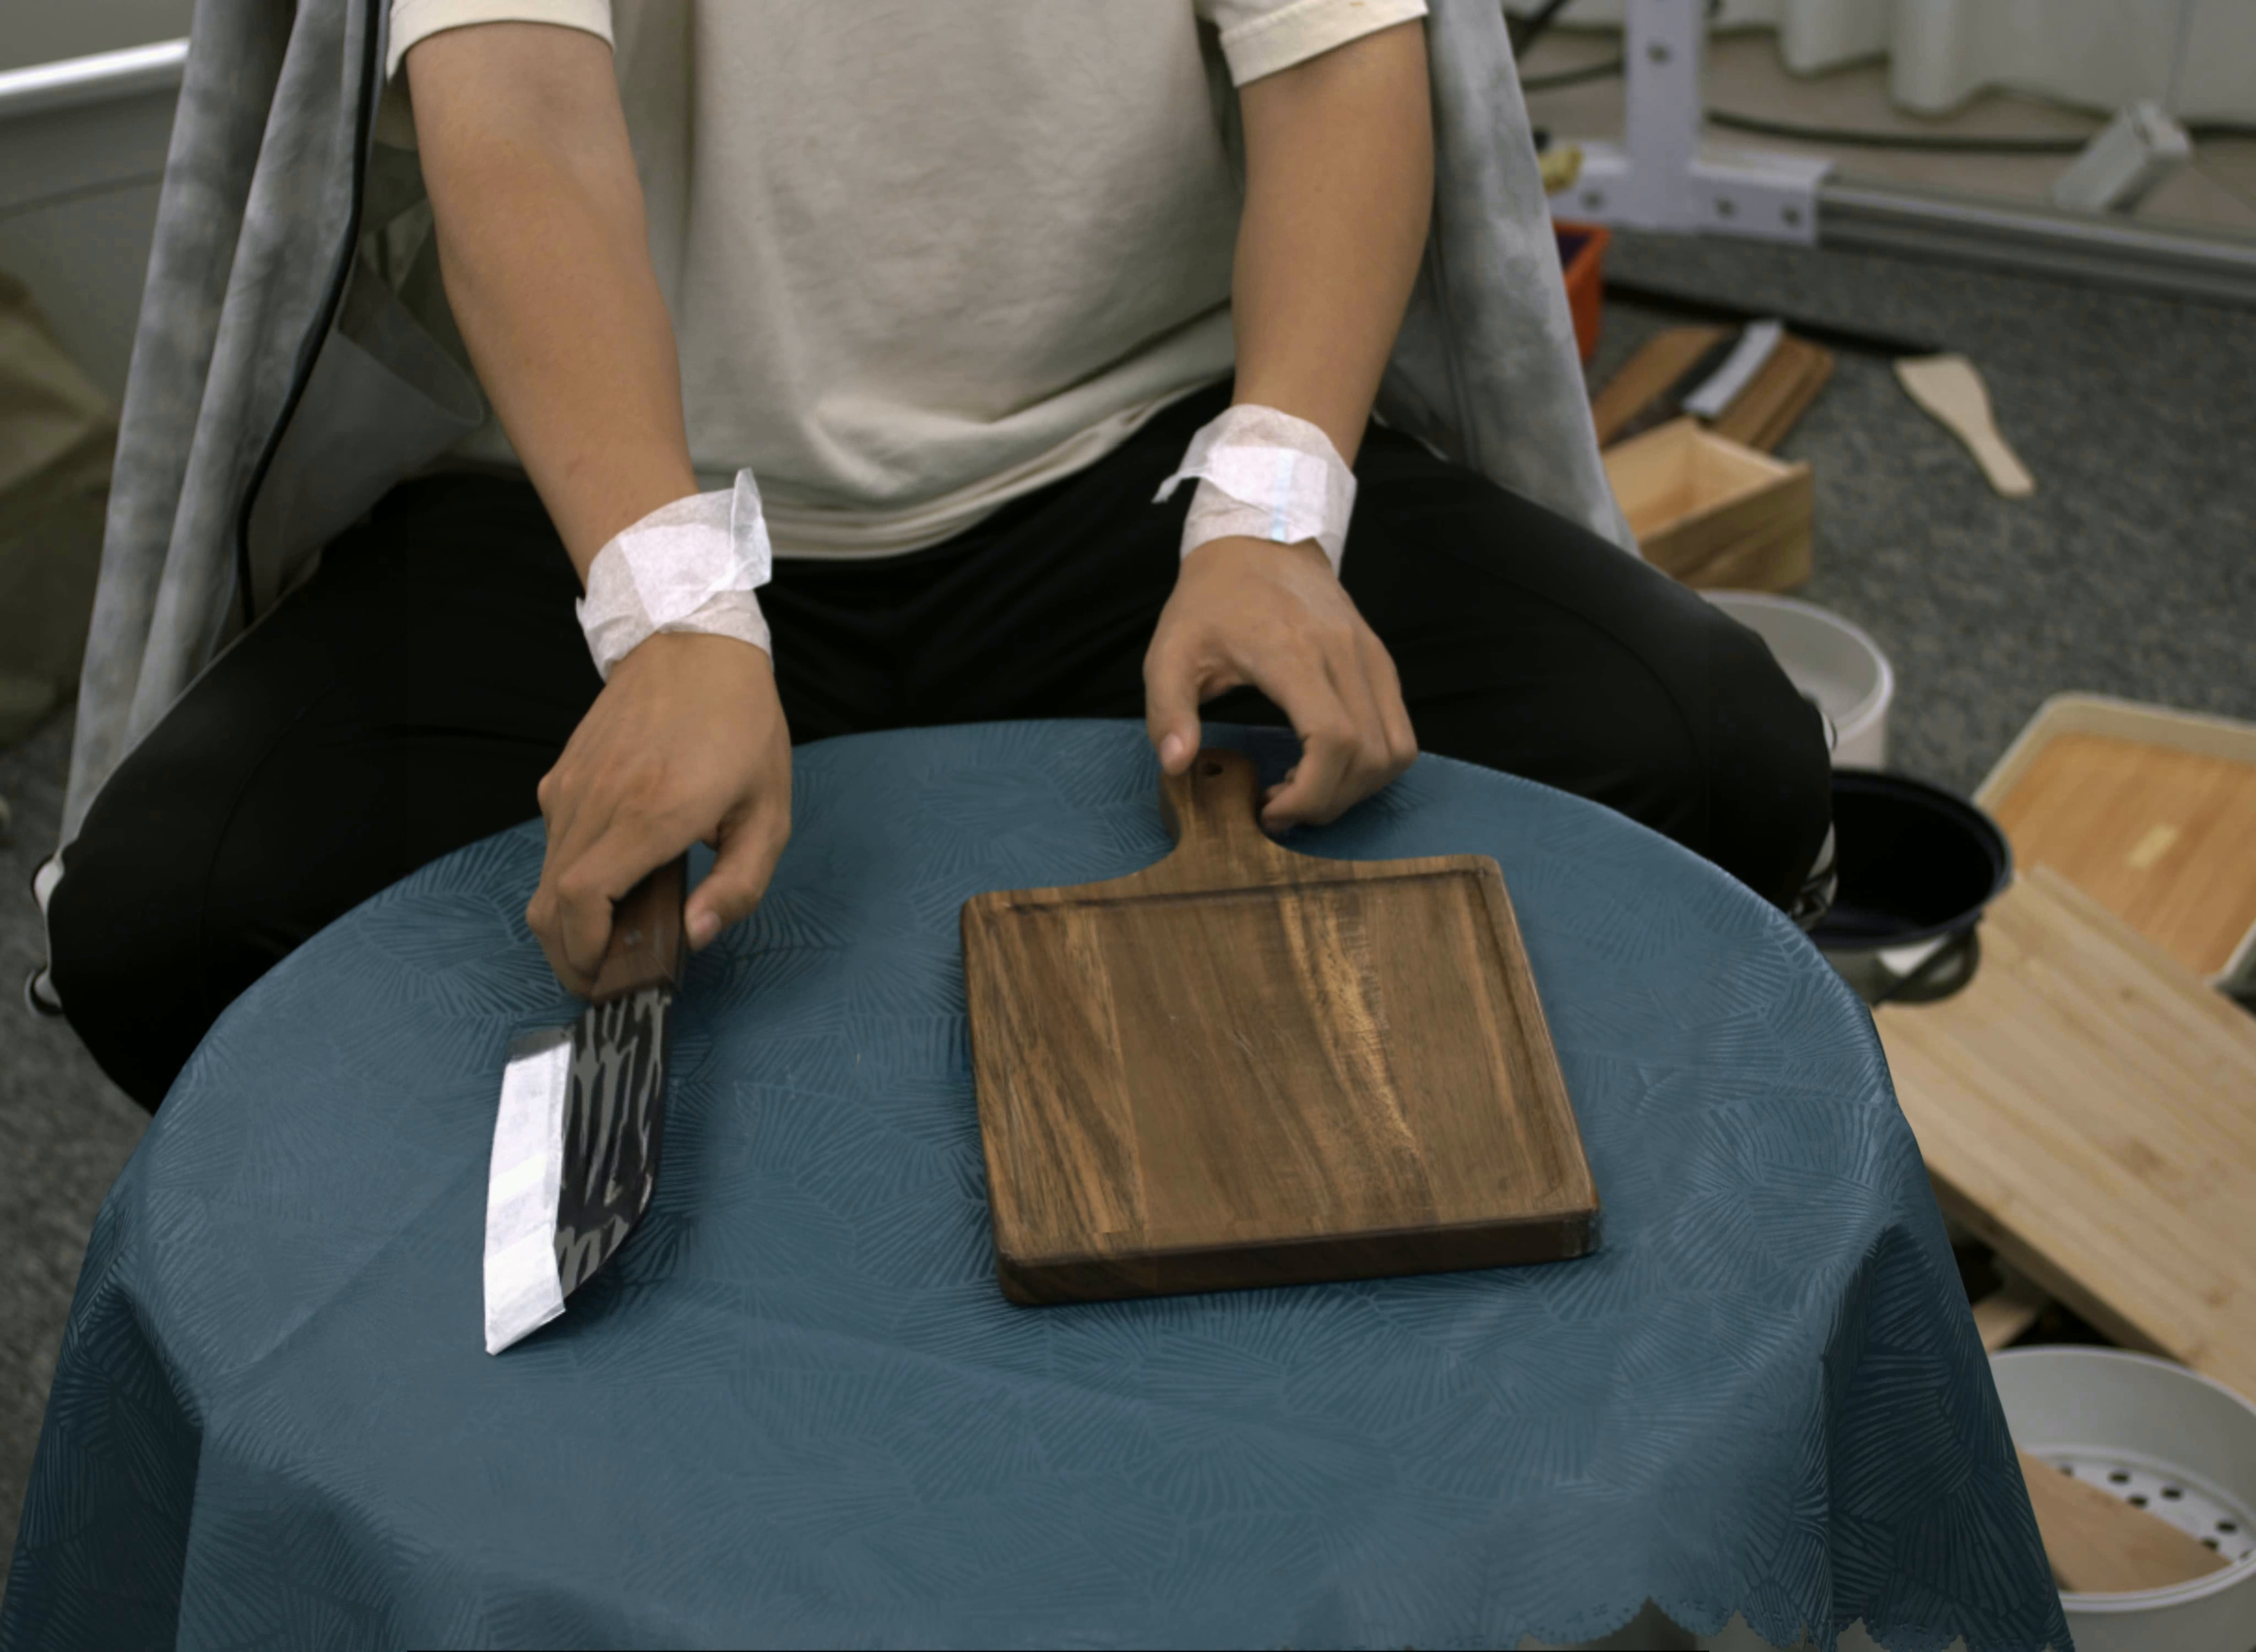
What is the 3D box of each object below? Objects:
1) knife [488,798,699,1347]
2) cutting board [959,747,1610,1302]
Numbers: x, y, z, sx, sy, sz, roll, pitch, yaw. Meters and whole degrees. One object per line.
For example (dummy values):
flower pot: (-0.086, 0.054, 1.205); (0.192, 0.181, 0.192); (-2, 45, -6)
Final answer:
knife: (-0.182, 0.081, 1.914); (0.067, 0.024, 0.304); (-22, 28, 13)
cutting board: (0.044, 0.058, 1.956); (0.200, 0.023, 0.357); (-4, 27, -3)
